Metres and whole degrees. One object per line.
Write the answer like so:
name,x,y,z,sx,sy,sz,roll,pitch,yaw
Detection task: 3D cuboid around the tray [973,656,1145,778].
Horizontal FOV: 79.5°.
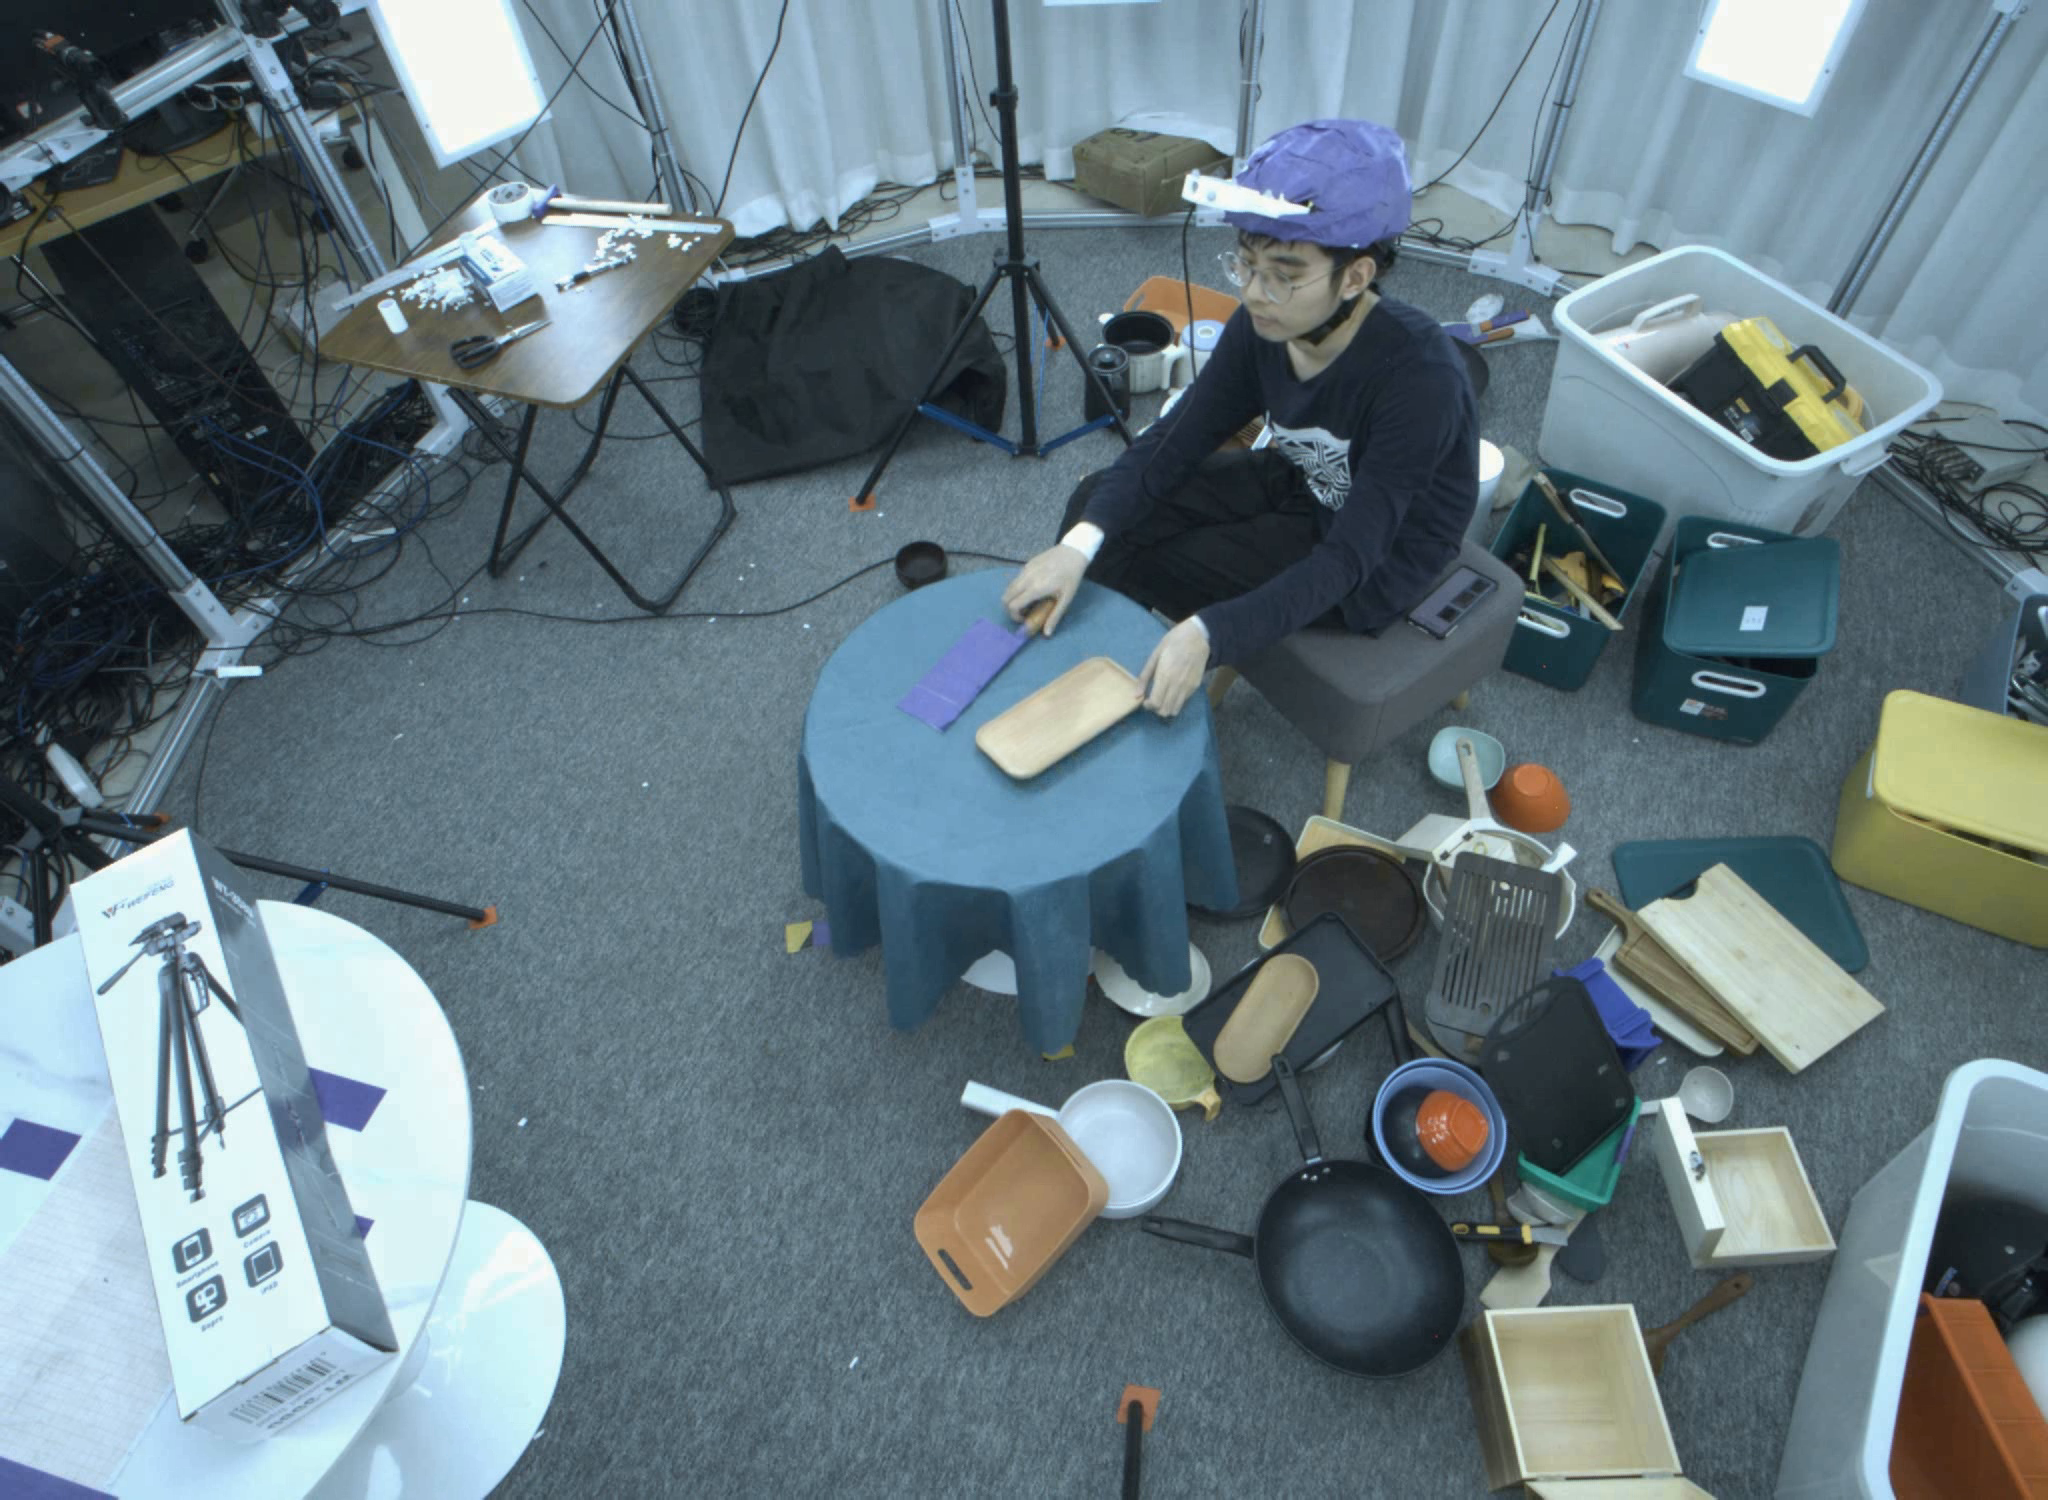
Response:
tray,0.053,-0.050,1.811,0.252,0.023,0.127,-32,50,-18

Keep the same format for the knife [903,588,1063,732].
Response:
knife,-0.064,-0.155,1.891,0.102,0.032,0.317,30,61,20
